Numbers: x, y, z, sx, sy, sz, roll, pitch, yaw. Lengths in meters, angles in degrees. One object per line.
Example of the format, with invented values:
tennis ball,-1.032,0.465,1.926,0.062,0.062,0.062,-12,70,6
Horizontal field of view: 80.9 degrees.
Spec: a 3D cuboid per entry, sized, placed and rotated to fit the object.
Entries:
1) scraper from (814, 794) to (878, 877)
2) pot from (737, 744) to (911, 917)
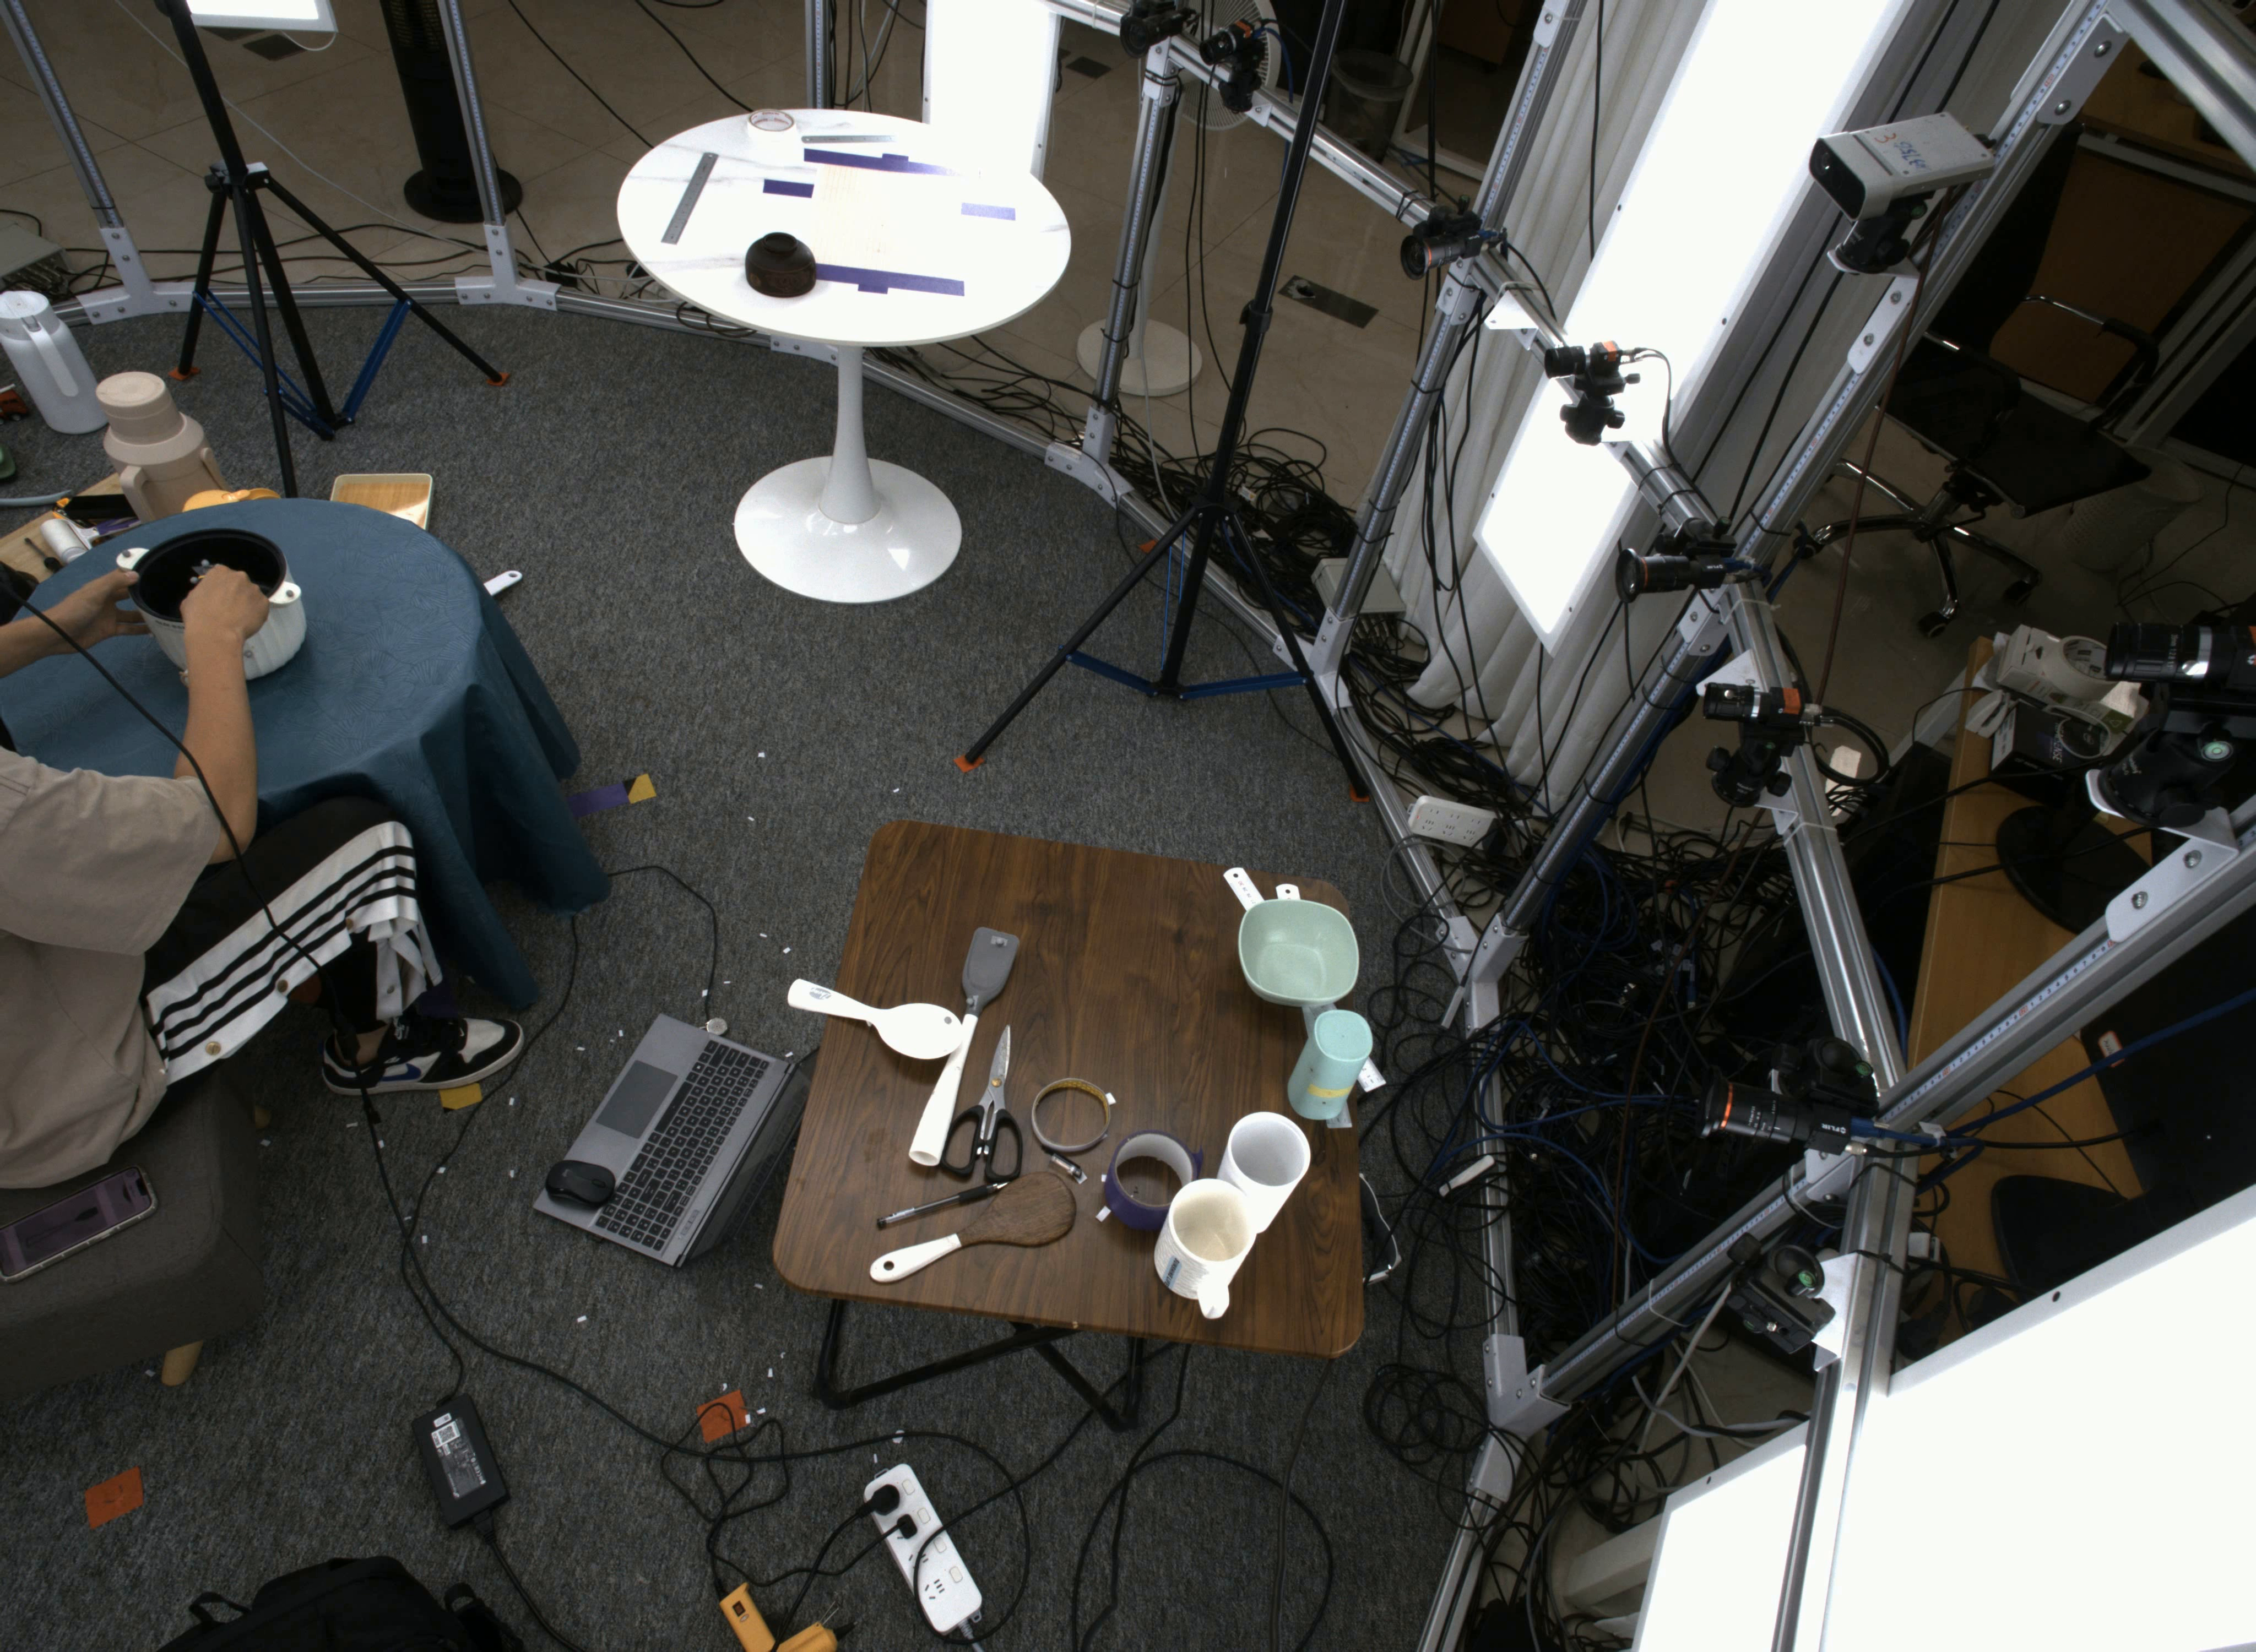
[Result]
scraper,-0.323,0.008,1.491,0.039,0.015,0.165,3,31,-32
pot,-0.387,0.012,1.645,0.237,0.146,0.189,23,48,7
